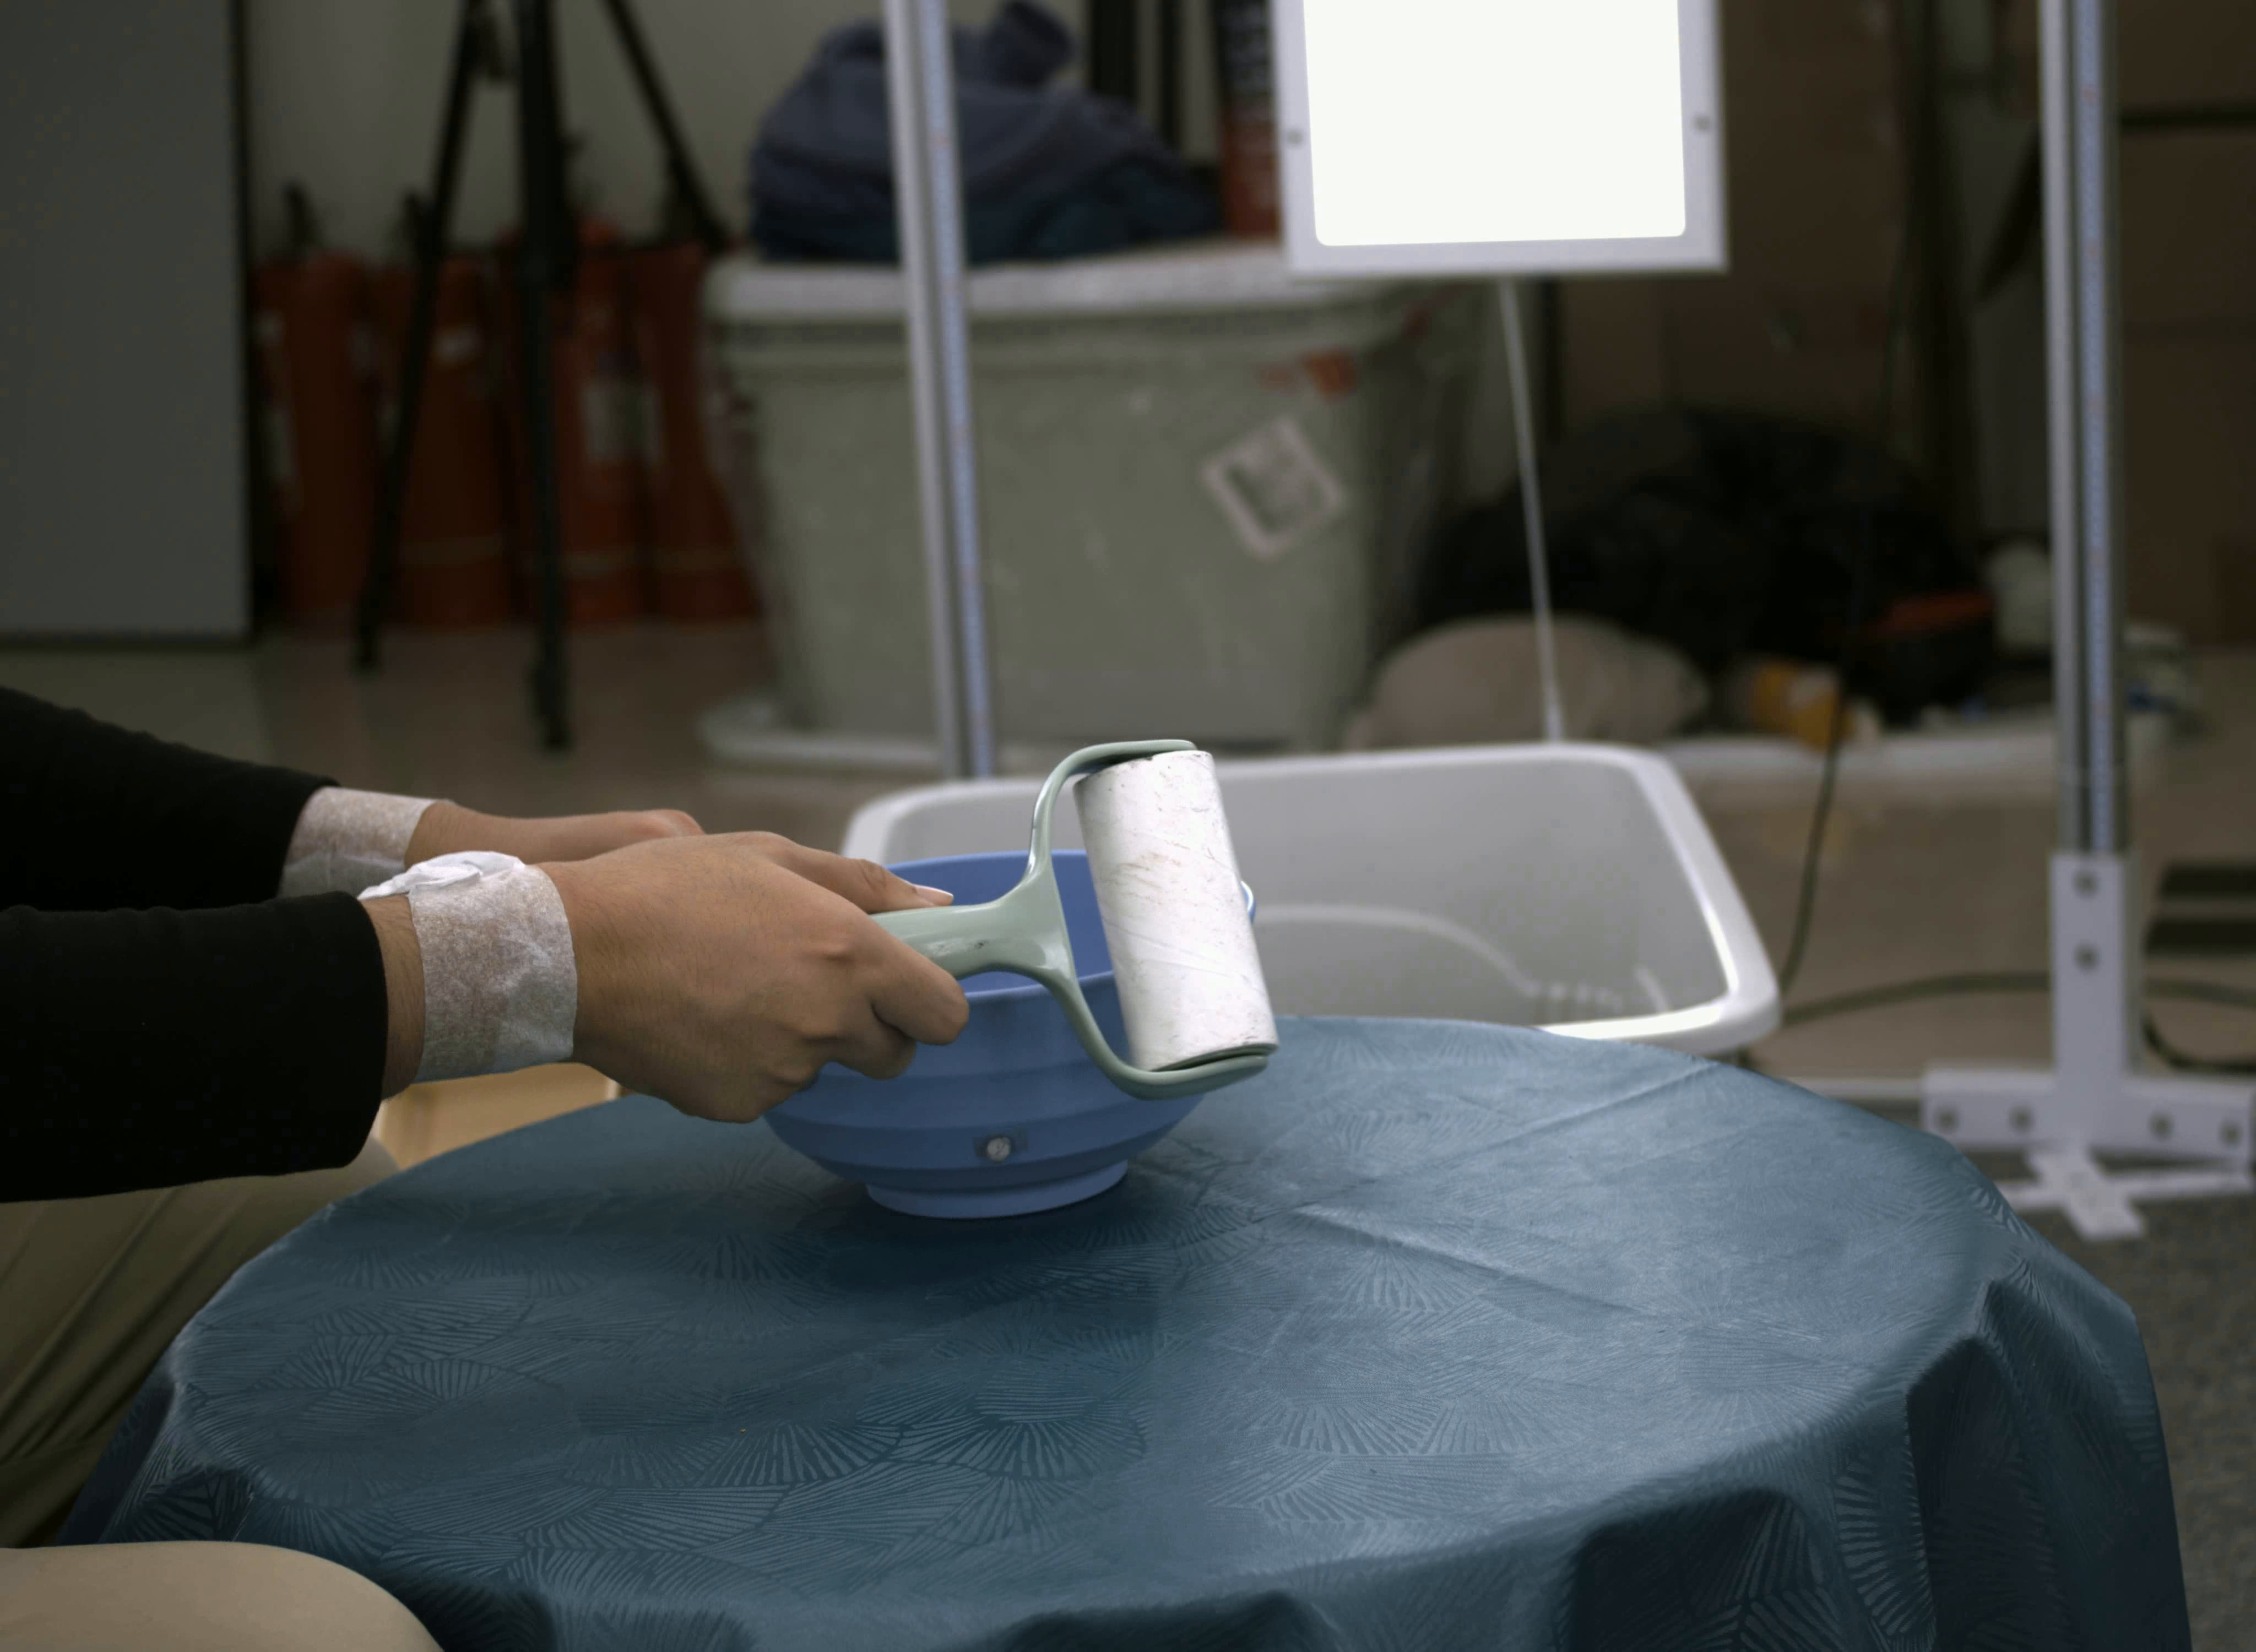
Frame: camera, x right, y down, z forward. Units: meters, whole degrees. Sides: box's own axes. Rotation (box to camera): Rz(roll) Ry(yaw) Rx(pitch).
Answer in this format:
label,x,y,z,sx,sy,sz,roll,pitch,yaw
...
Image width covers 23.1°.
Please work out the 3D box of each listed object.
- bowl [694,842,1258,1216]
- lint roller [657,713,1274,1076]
label,x,y,z,sx,sy,sz,roll,pitch,yaw
bowl,-0.049,0.076,1.915,0.196,0.096,0.196,-5,15,0
lint roller,-0.054,0.032,1.761,0.194,0.117,0.049,-9,-9,-21
